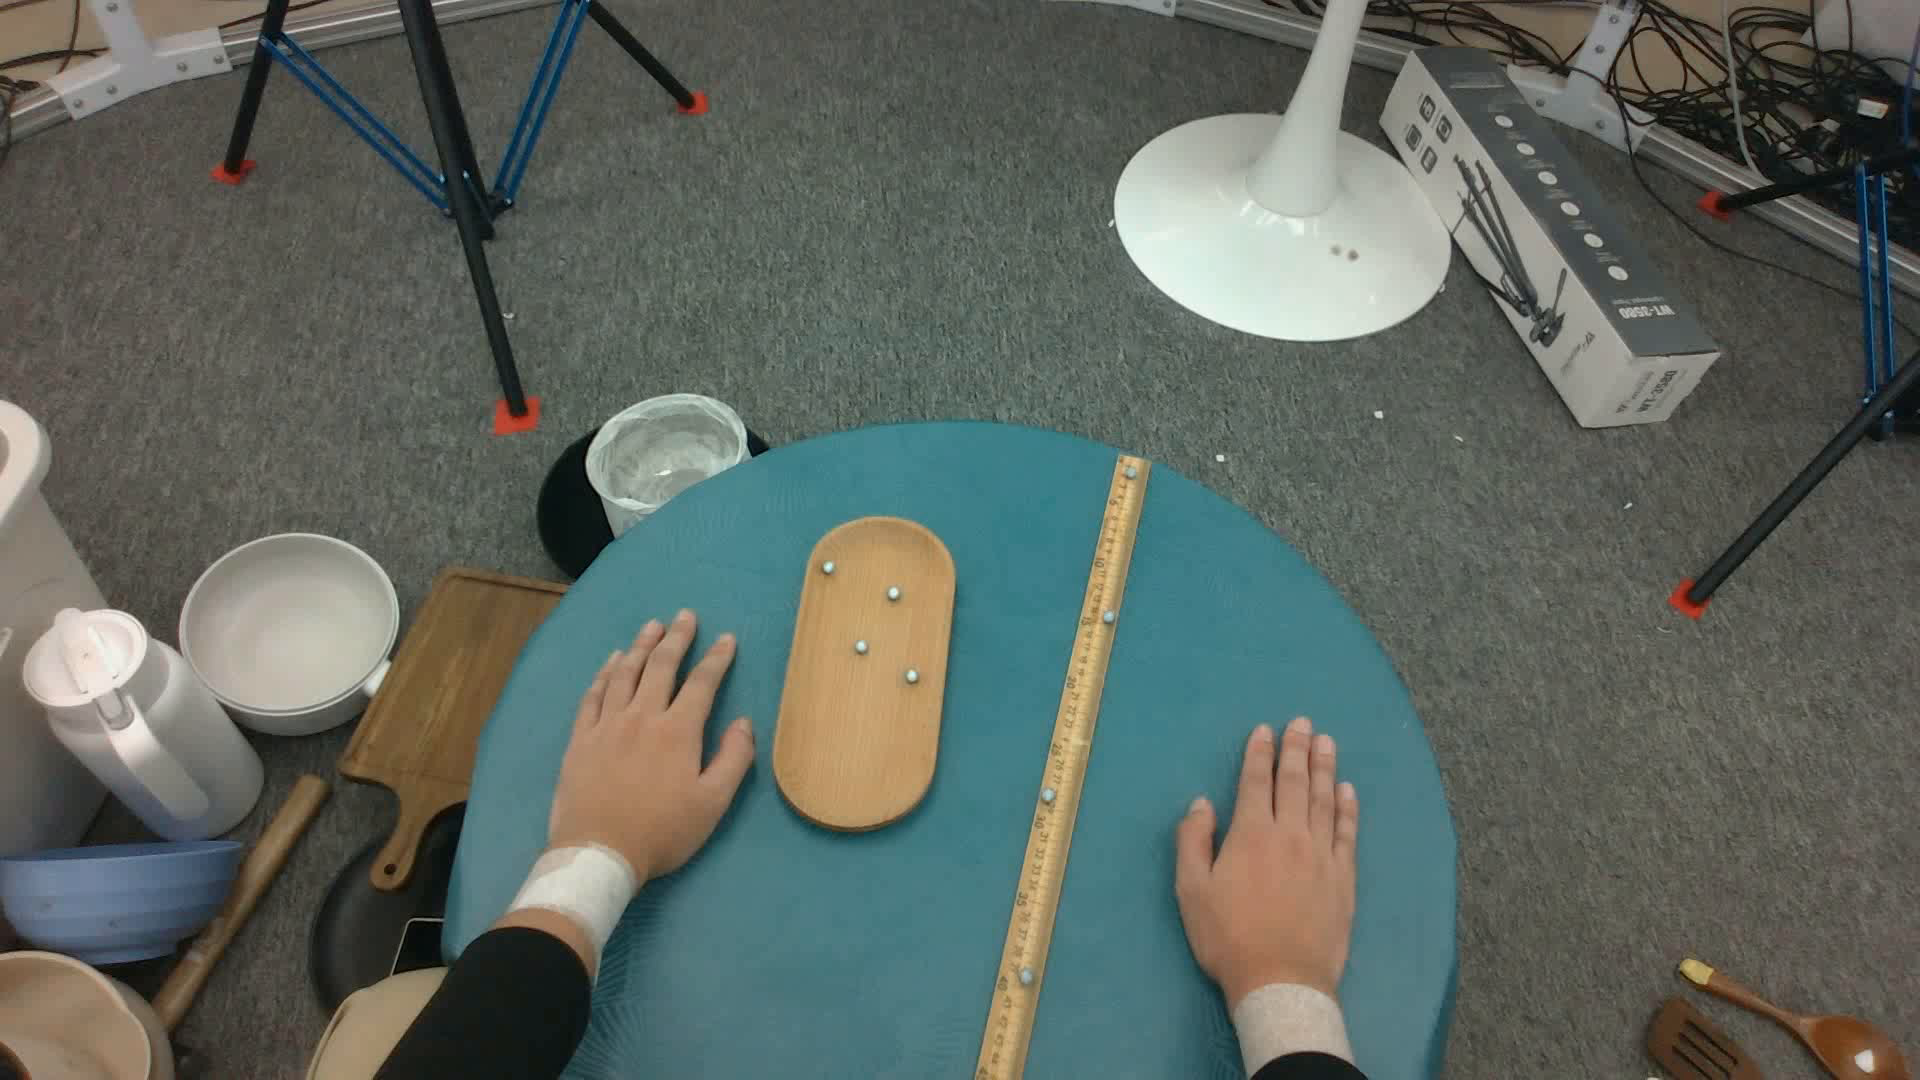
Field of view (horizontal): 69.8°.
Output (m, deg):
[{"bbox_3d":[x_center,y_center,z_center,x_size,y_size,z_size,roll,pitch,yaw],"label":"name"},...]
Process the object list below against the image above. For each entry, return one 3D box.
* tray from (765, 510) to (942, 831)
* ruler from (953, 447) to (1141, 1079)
[{"bbox_3d":[-0.065,0.077,0.879,0.102,0.020,0.232,3,55,0],"label":"tray"},{"bbox_3d":[0.060,0.128,0.860,0.027,0.006,0.503,13,54,7],"label":"ruler"}]
